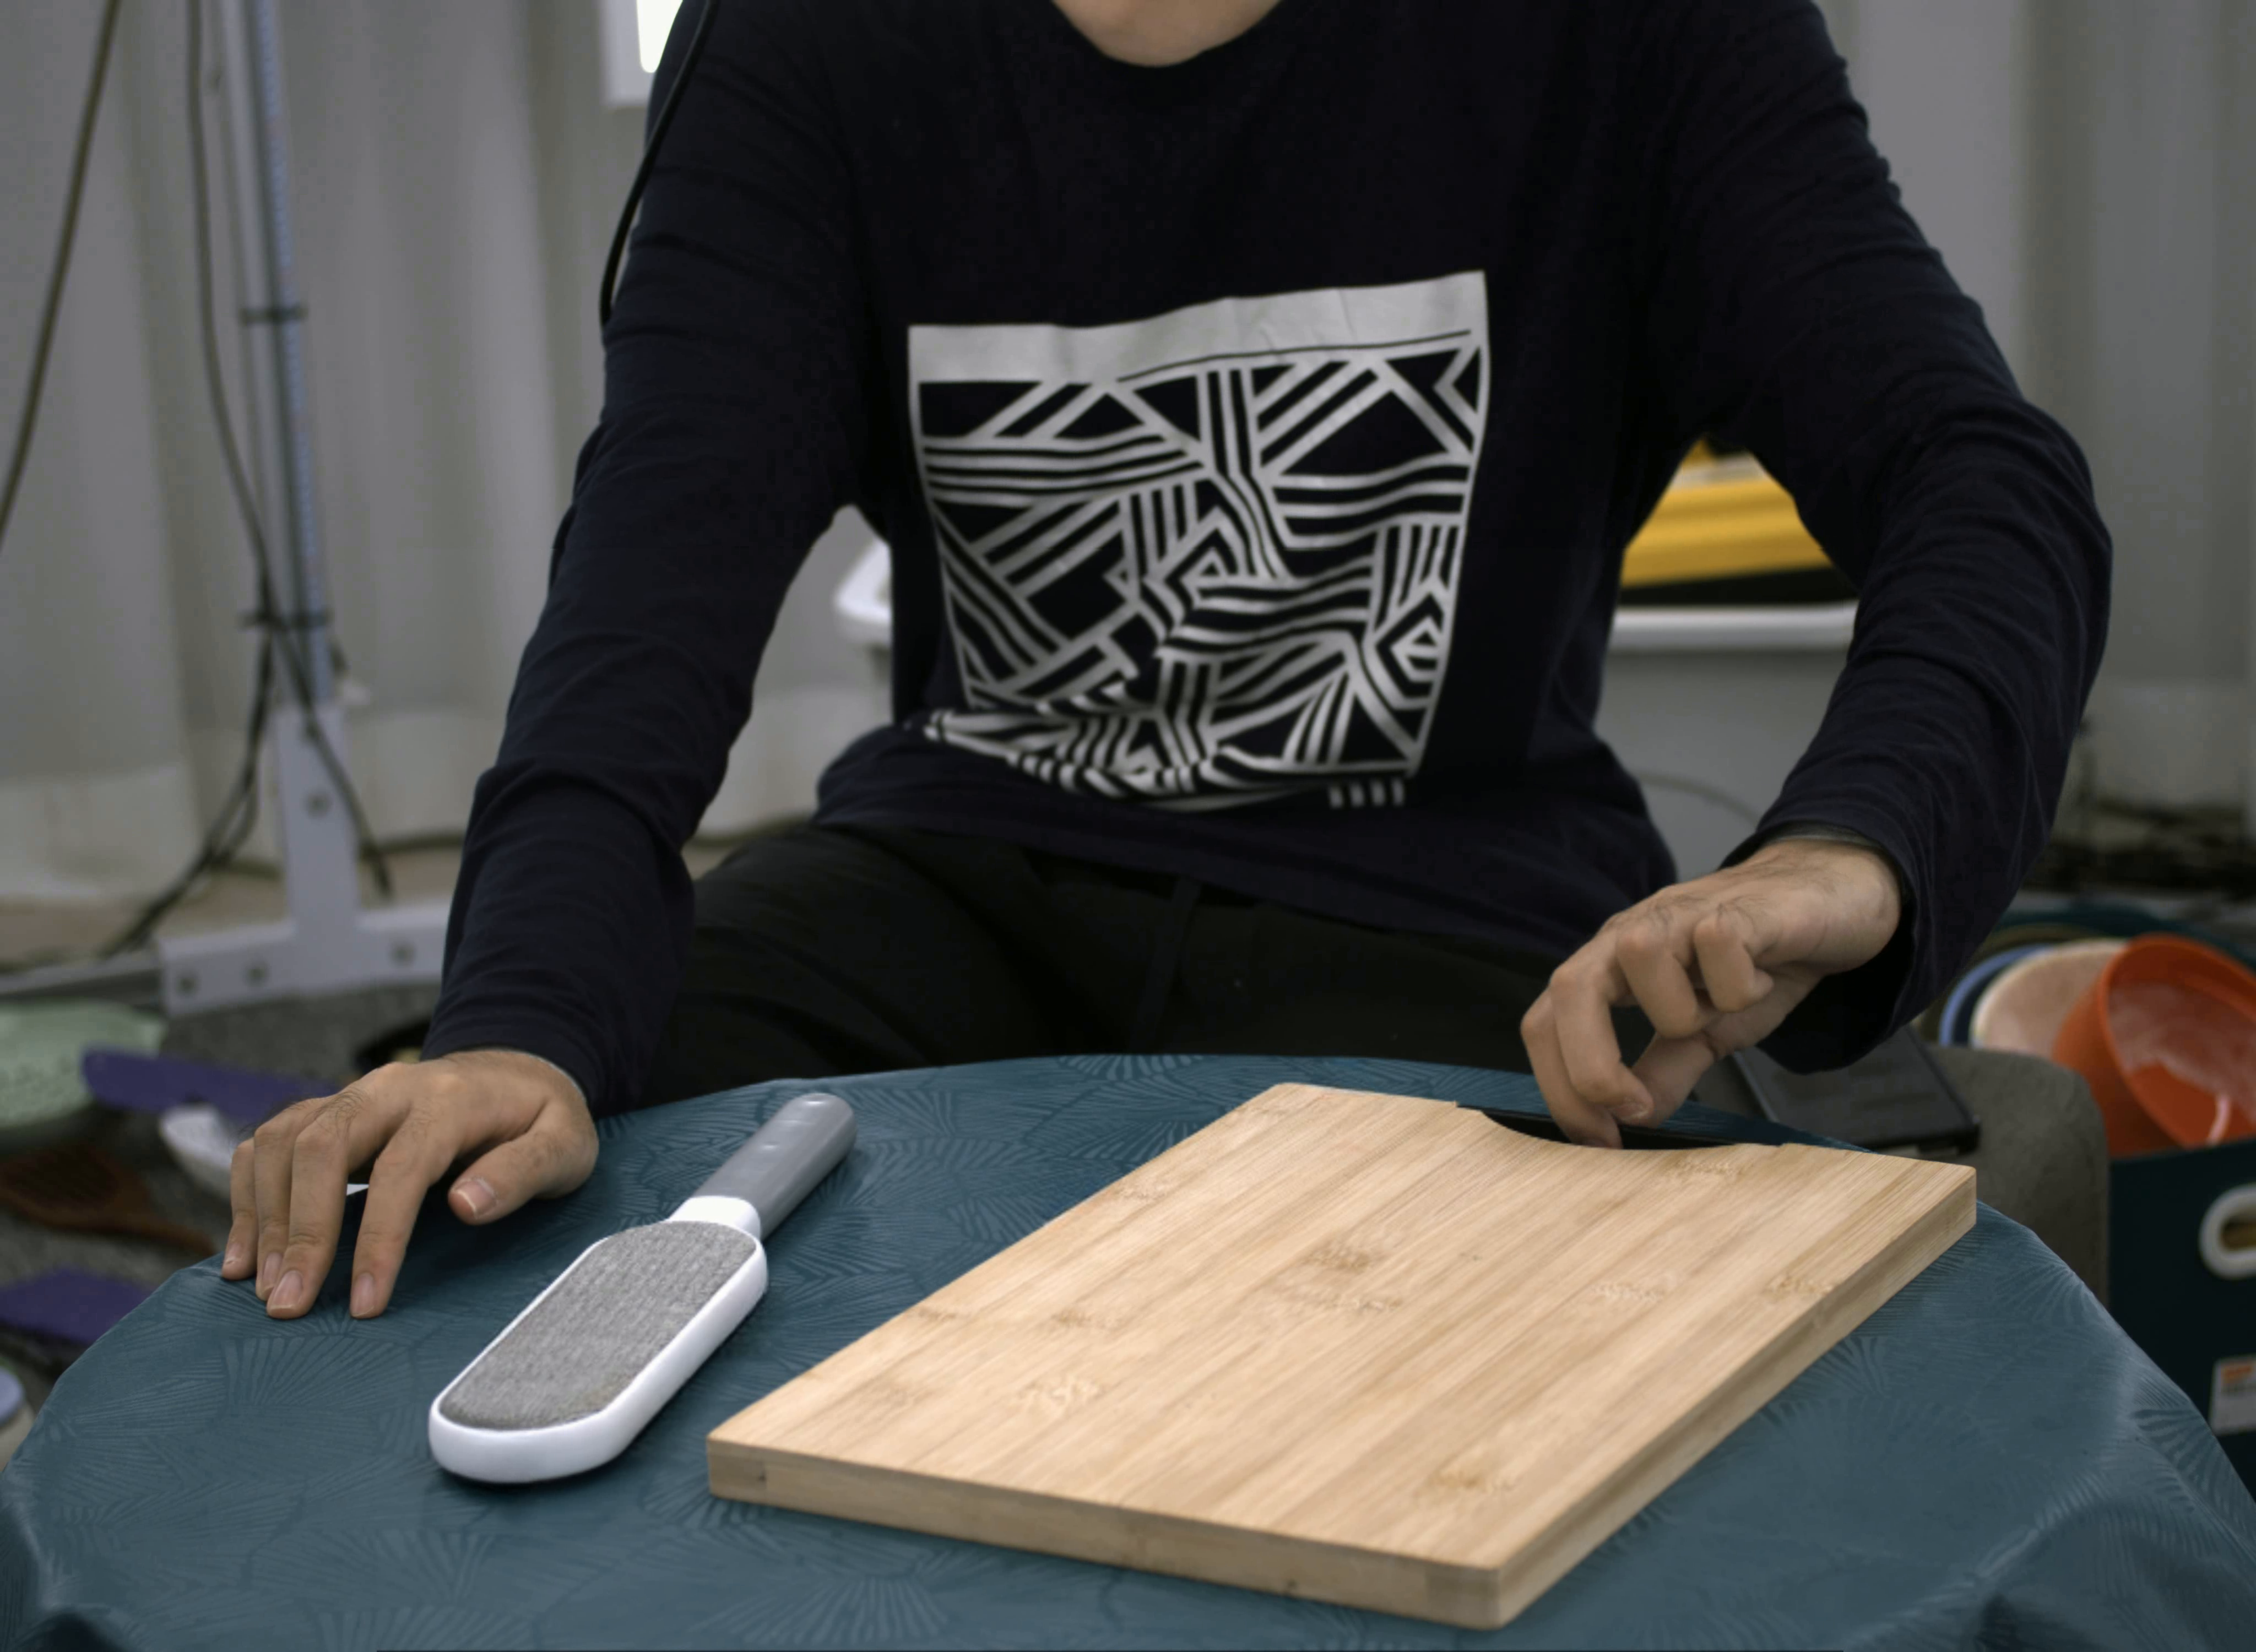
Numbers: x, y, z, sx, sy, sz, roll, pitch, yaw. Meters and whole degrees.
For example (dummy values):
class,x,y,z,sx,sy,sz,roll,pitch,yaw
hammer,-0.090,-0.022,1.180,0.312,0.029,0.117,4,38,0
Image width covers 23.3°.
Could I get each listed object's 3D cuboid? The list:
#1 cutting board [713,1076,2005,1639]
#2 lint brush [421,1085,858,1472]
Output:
class,x,y,z,sx,sy,sz,roll,pitch,yaw
cutting board,0.074,0.142,1.568,0.251,0.023,0.349,6,17,28
lint brush,-0.134,0.131,1.630,0.060,0.021,0.310,-4,14,16
